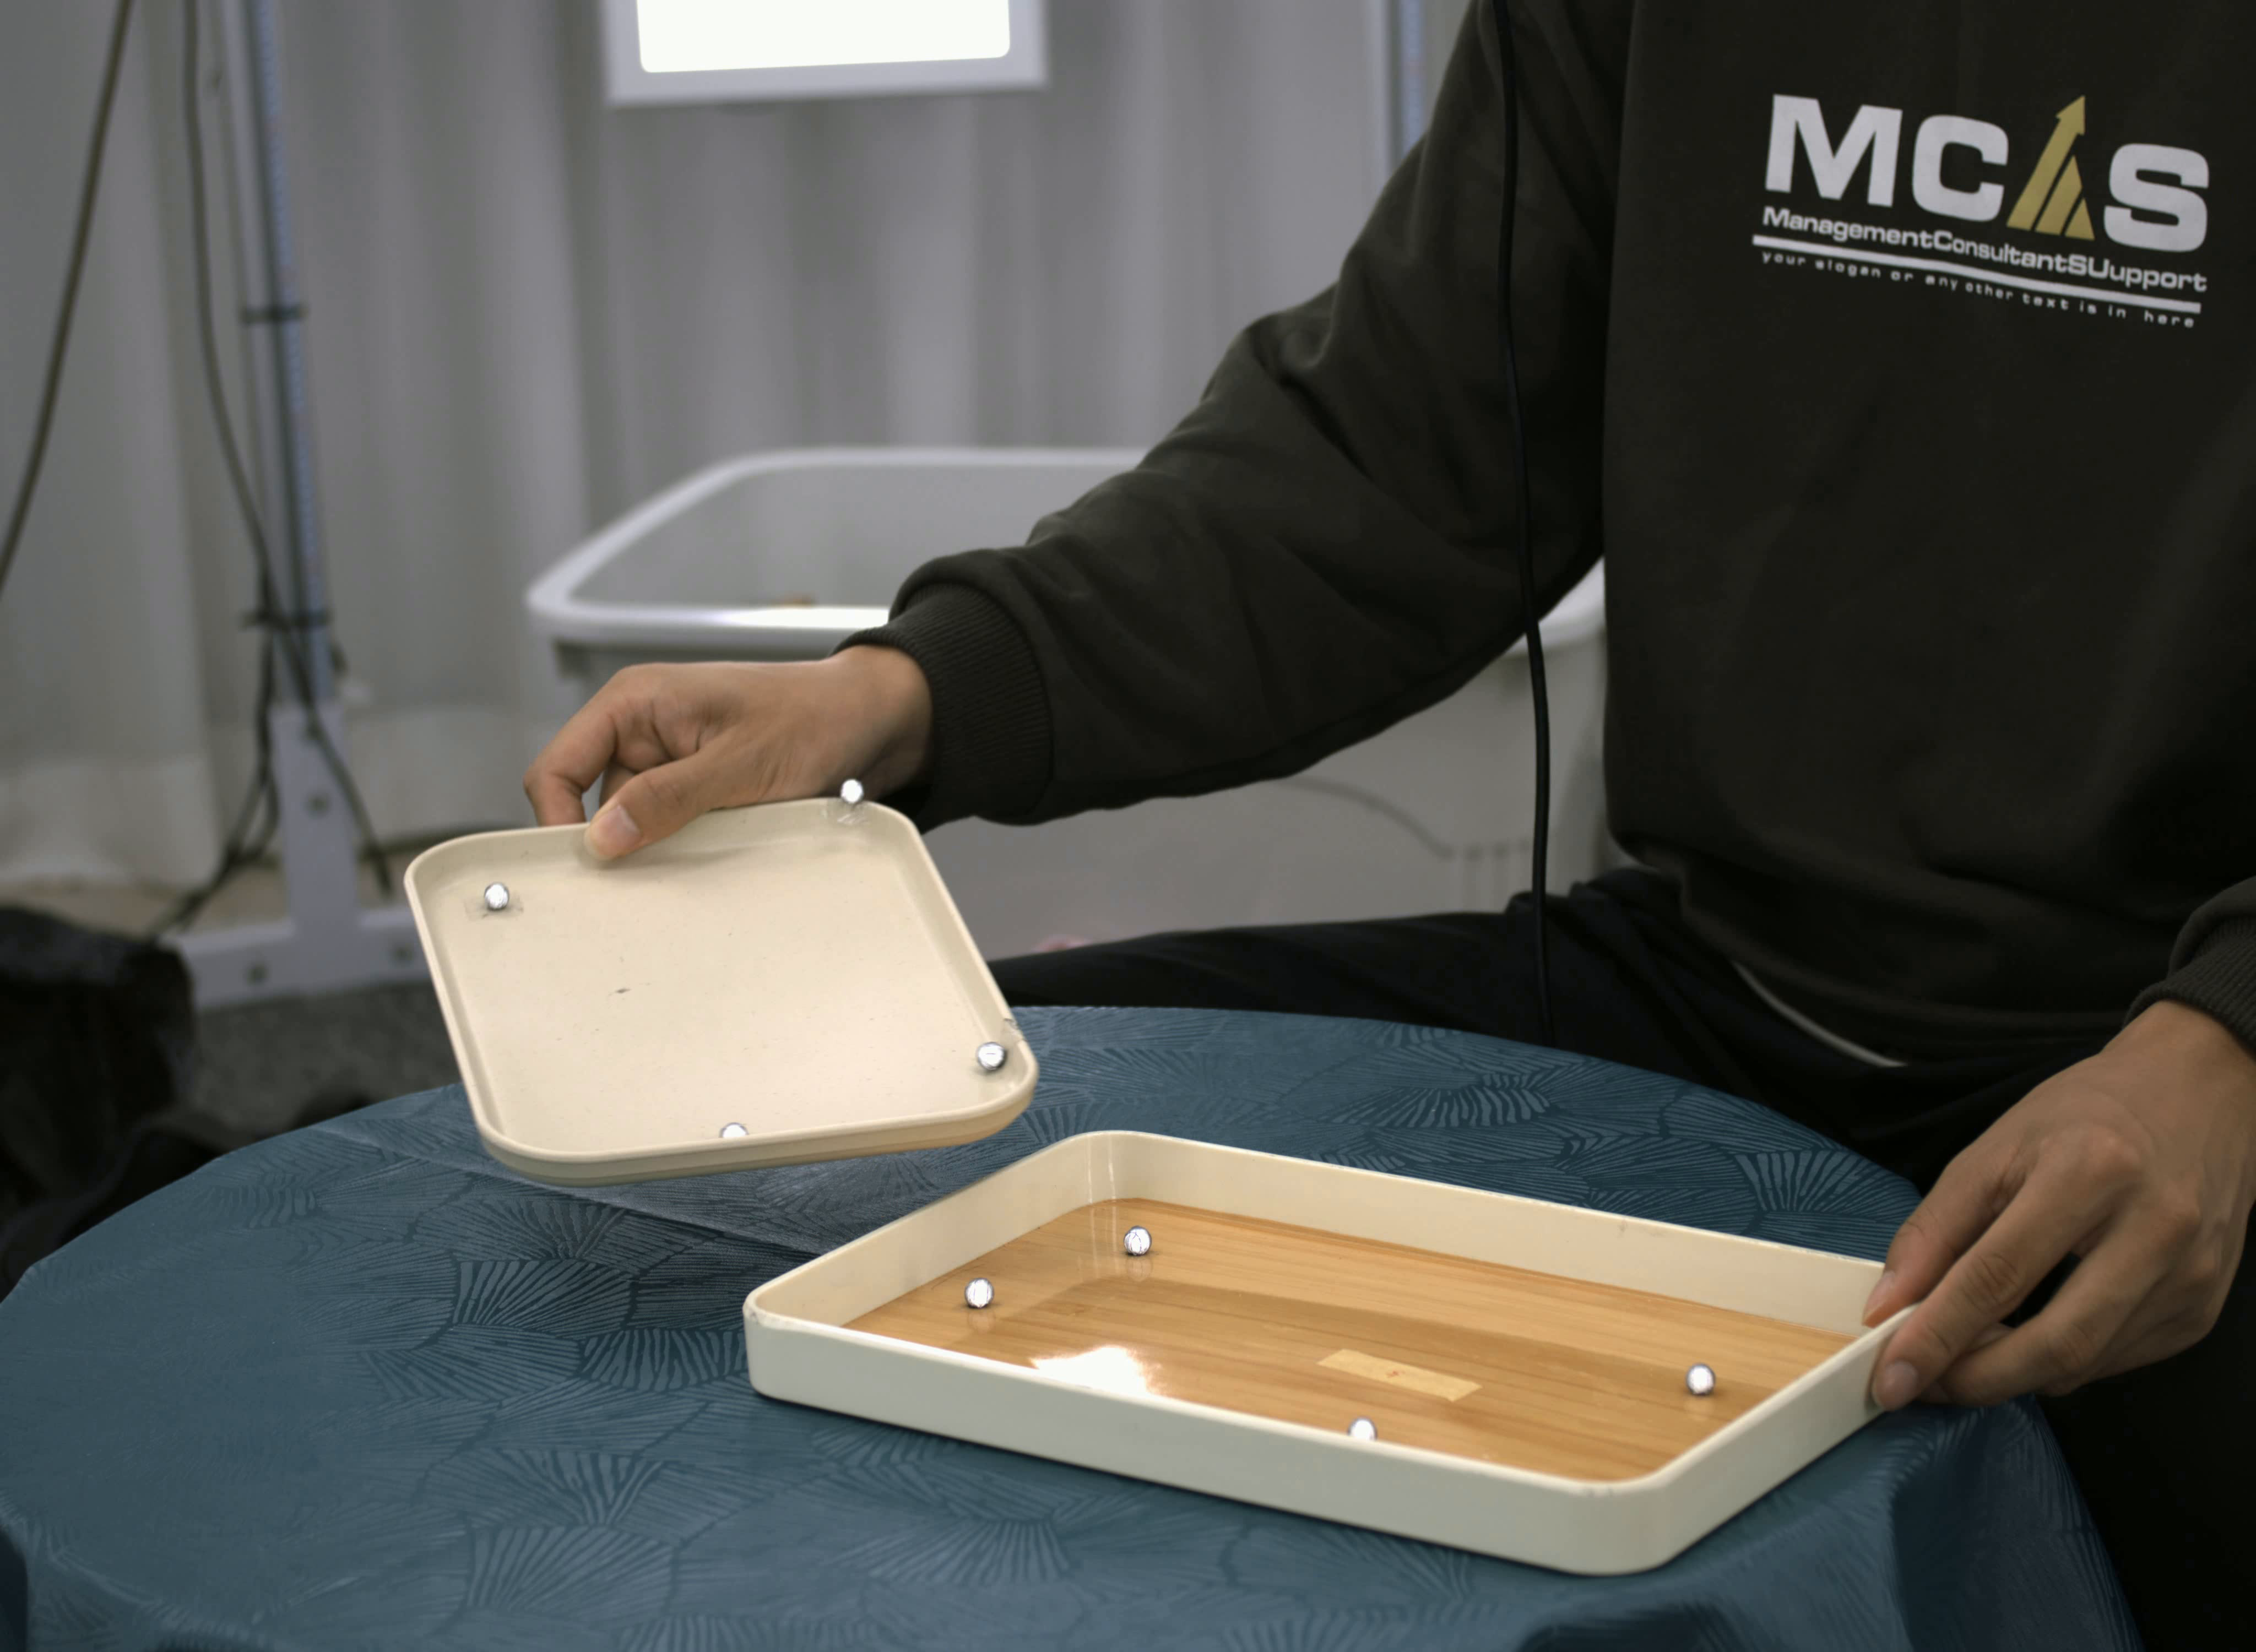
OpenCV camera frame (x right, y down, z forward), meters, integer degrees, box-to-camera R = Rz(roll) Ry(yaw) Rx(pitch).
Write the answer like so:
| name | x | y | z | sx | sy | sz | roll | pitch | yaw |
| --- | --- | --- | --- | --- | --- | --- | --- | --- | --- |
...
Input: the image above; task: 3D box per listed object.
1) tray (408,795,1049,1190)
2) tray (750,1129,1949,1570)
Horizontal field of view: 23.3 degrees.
| name | x | y | z | sx | sy | sz | roll | pitch | yaw |
| --- | --- | --- | --- | --- | --- | --- | --- | --- | --- |
| tray | -0.128 | 0.050 | 1.711 | 0.170 | 0.017 | 0.242 | -6 | 25 | -12 |
| tray | 0.062 | 0.144 | 1.548 | 0.301 | 0.027 | 0.191 | 8 | 18 | 34 |
